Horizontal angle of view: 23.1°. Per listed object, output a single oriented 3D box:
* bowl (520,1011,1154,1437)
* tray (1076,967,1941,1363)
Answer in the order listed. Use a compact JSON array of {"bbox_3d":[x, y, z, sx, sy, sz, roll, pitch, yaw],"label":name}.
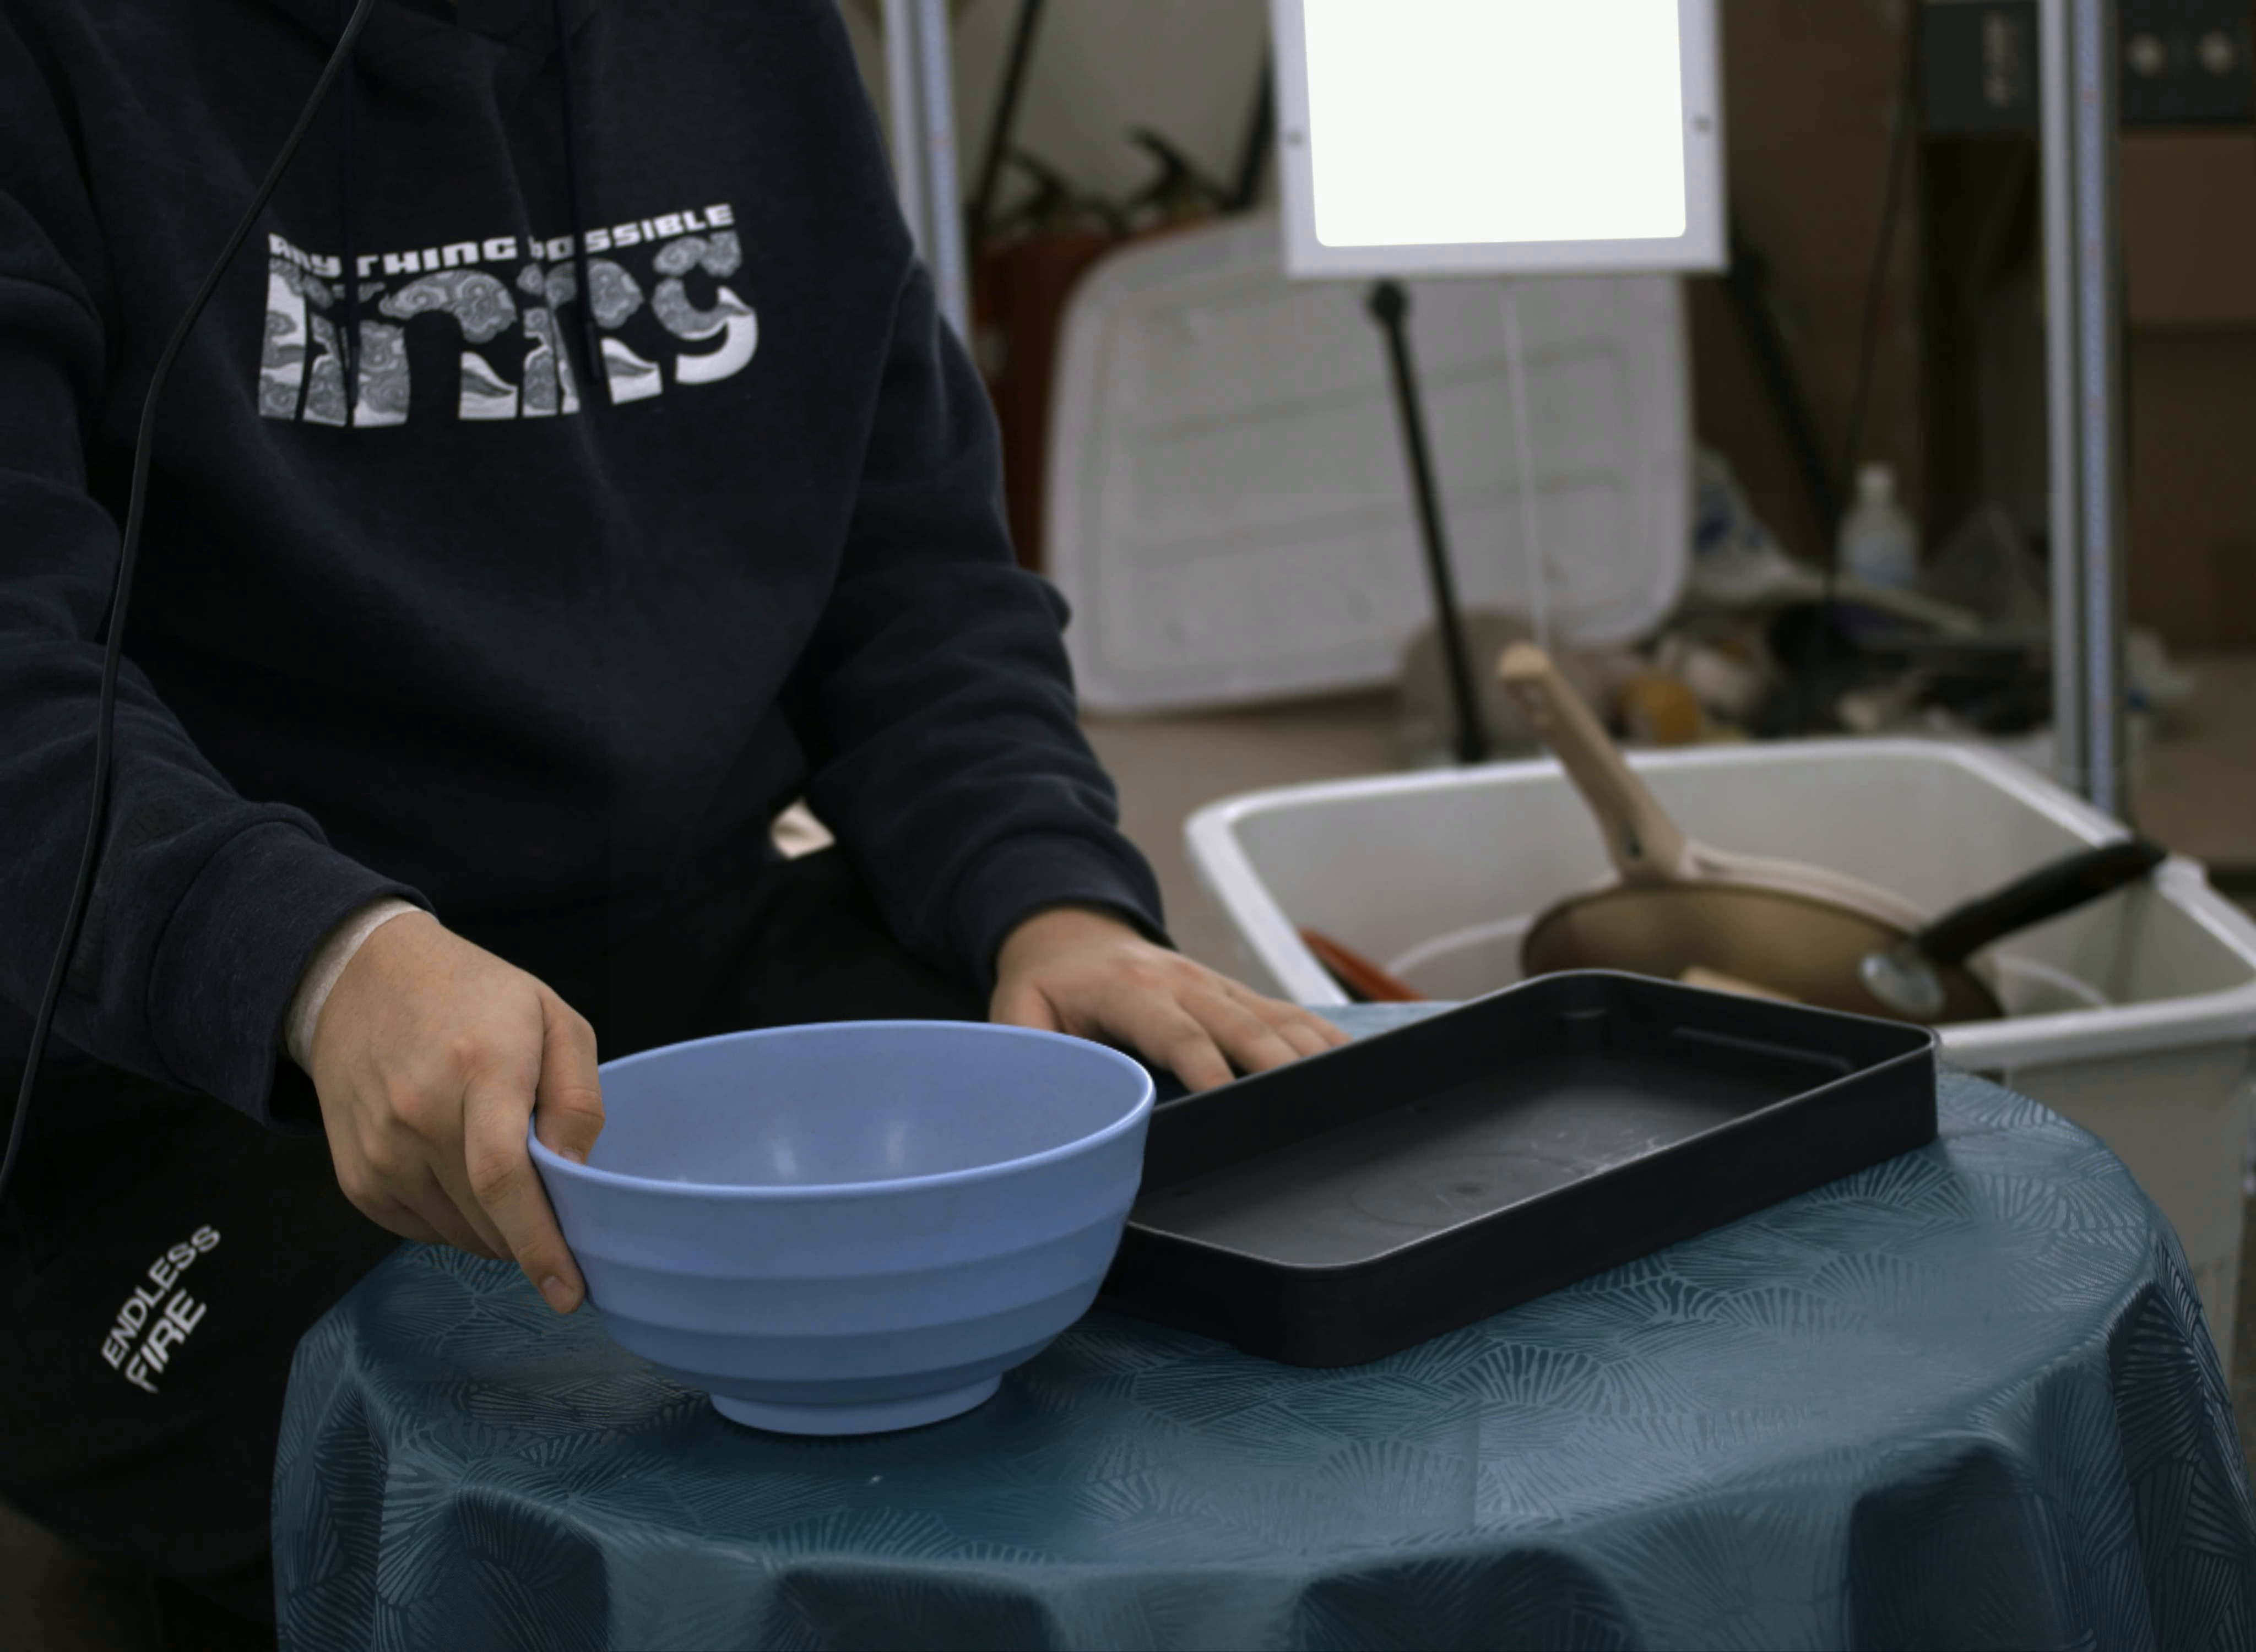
[{"bbox_3d":[-0.087,0.129,1.708,0.196,0.096,0.196,-4,14,0],"label":"bowl"},{"bbox_3d":[0.114,0.109,1.850,0.310,0.037,0.188,-16,17,-39],"label":"tray"}]
